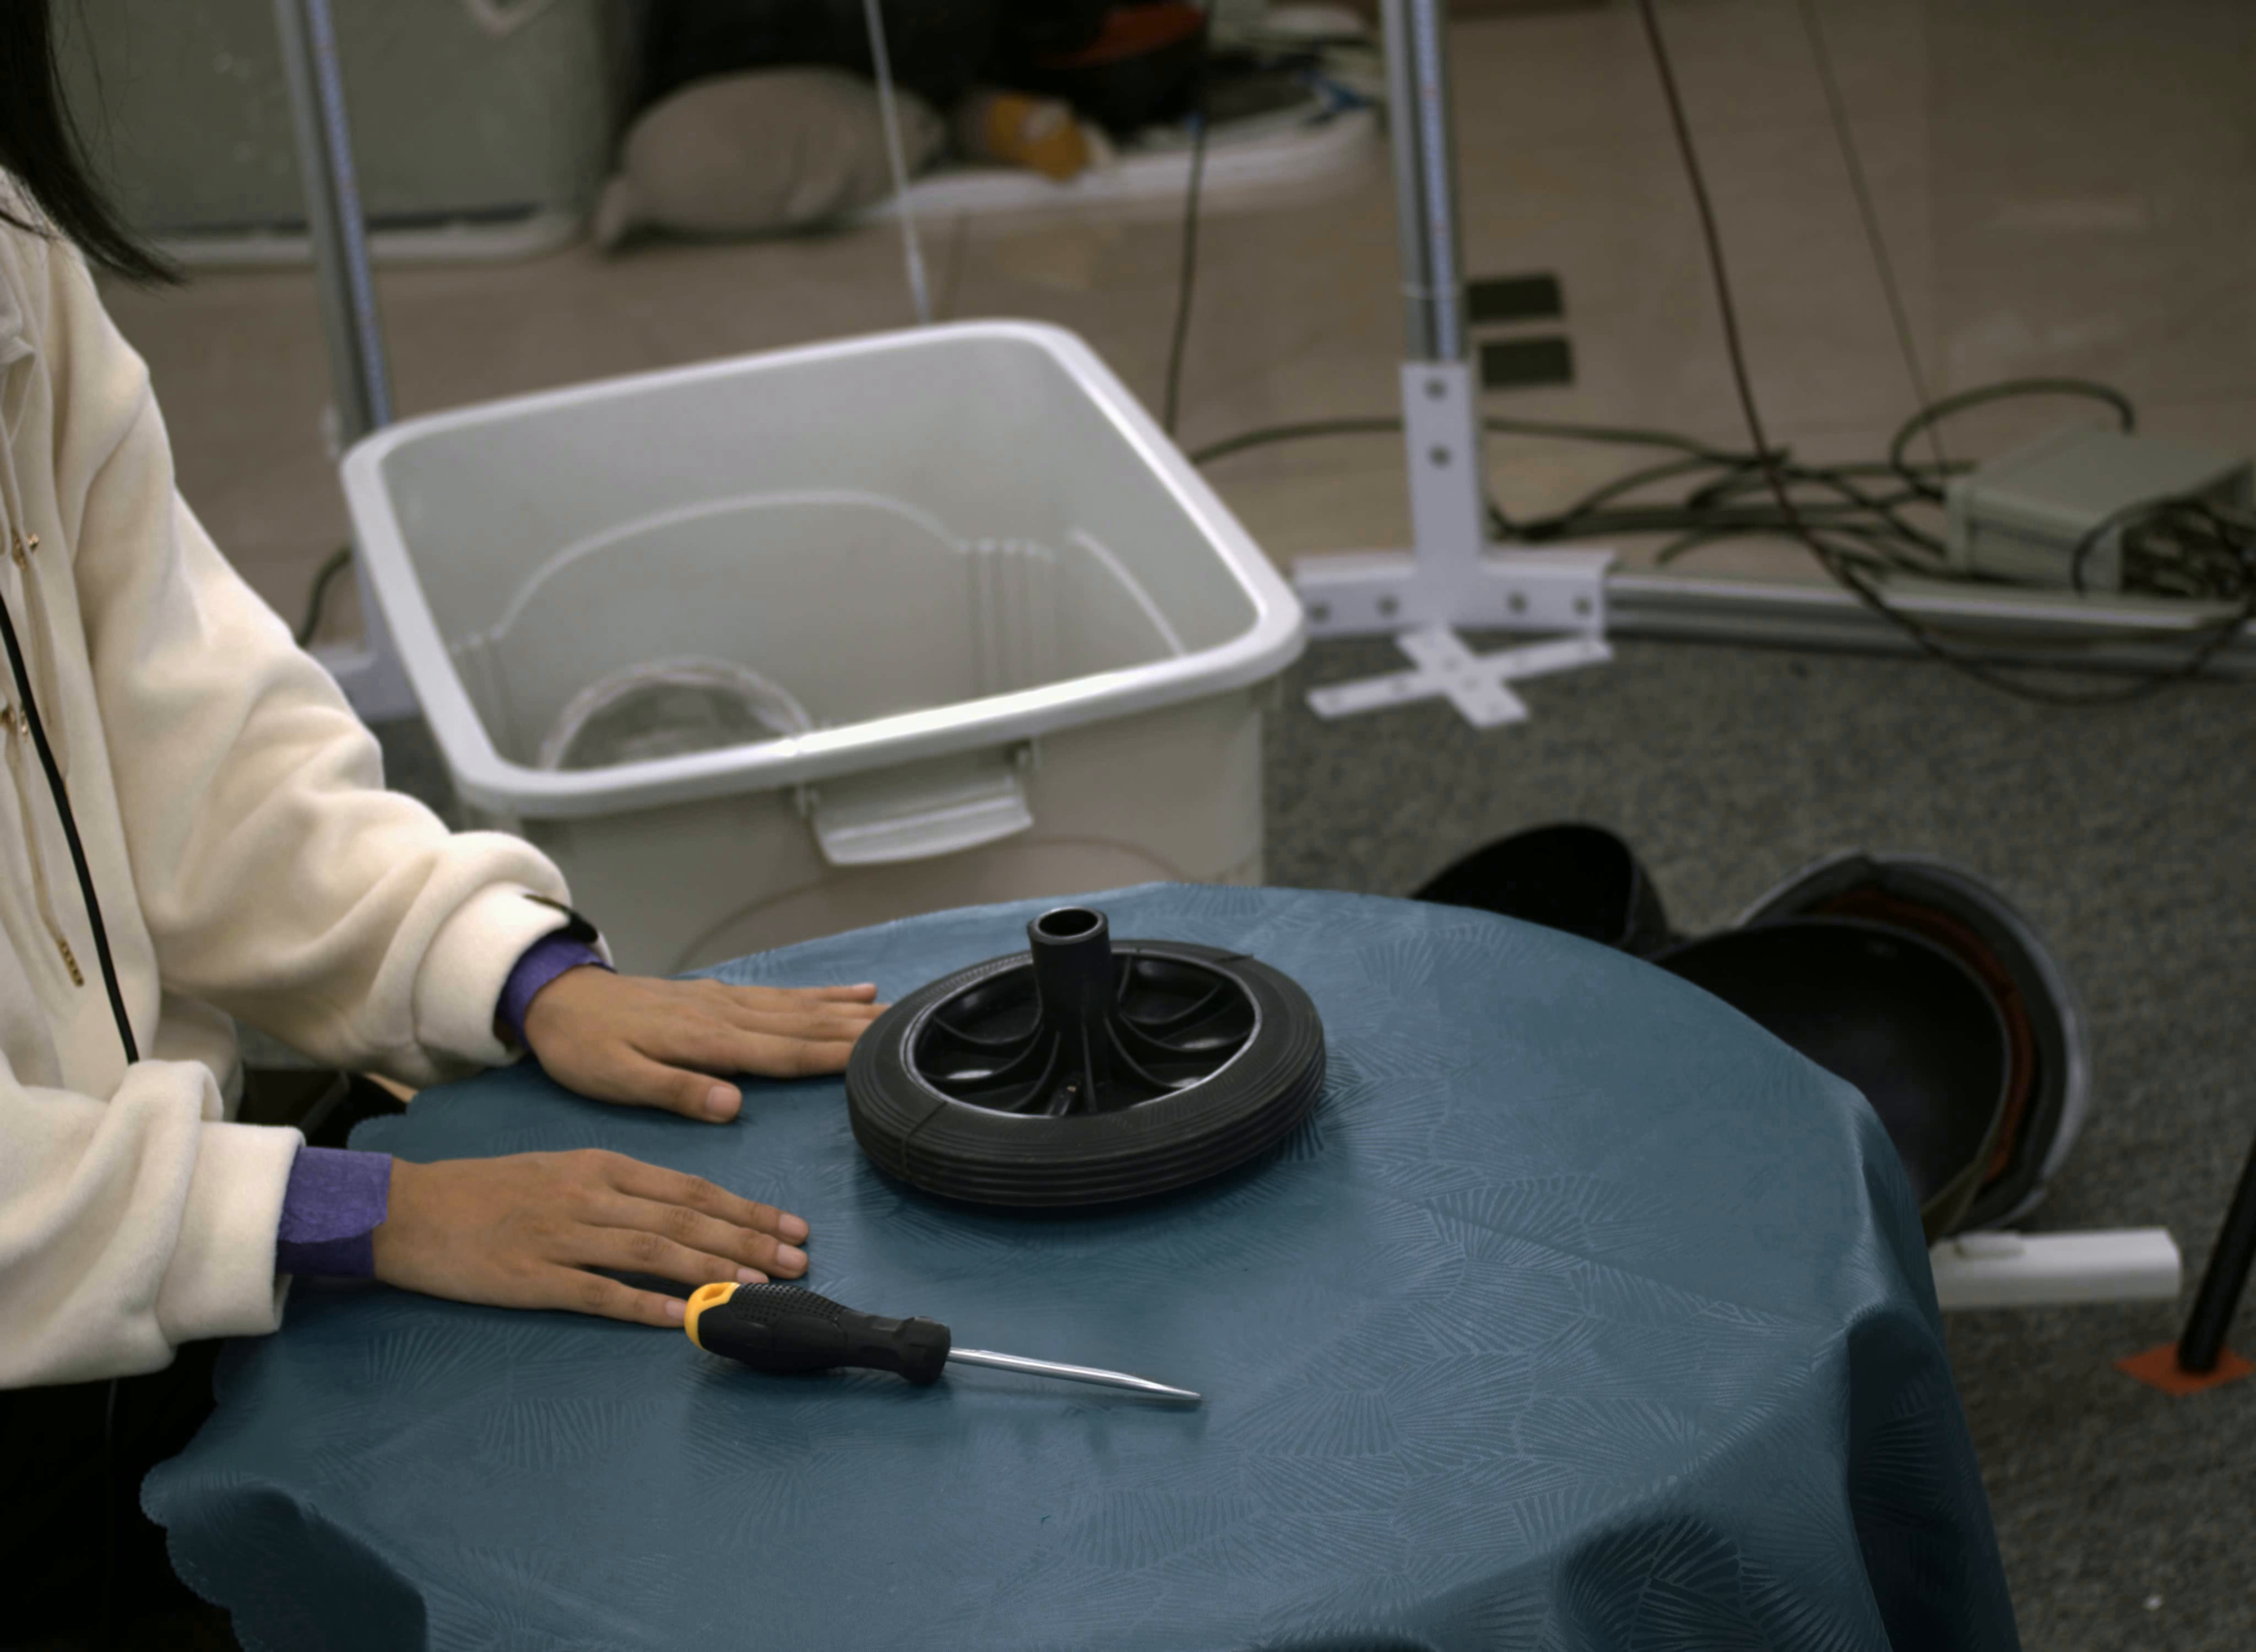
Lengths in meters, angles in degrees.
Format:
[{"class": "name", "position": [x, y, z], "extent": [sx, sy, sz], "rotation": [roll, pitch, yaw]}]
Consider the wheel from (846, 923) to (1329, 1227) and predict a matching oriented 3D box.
[{"class": "wheel", "position": [-0.018, 0.080, 2.191], "extent": [0.187, 0.080, 0.187], "rotation": [-9, 28, -4]}]

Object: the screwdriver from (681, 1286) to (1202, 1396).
[{"class": "screwdriver", "position": [-0.069, 0.190, 2.027], "extent": [0.197, 0.032, 0.031], "rotation": [7, 28, 21]}]
